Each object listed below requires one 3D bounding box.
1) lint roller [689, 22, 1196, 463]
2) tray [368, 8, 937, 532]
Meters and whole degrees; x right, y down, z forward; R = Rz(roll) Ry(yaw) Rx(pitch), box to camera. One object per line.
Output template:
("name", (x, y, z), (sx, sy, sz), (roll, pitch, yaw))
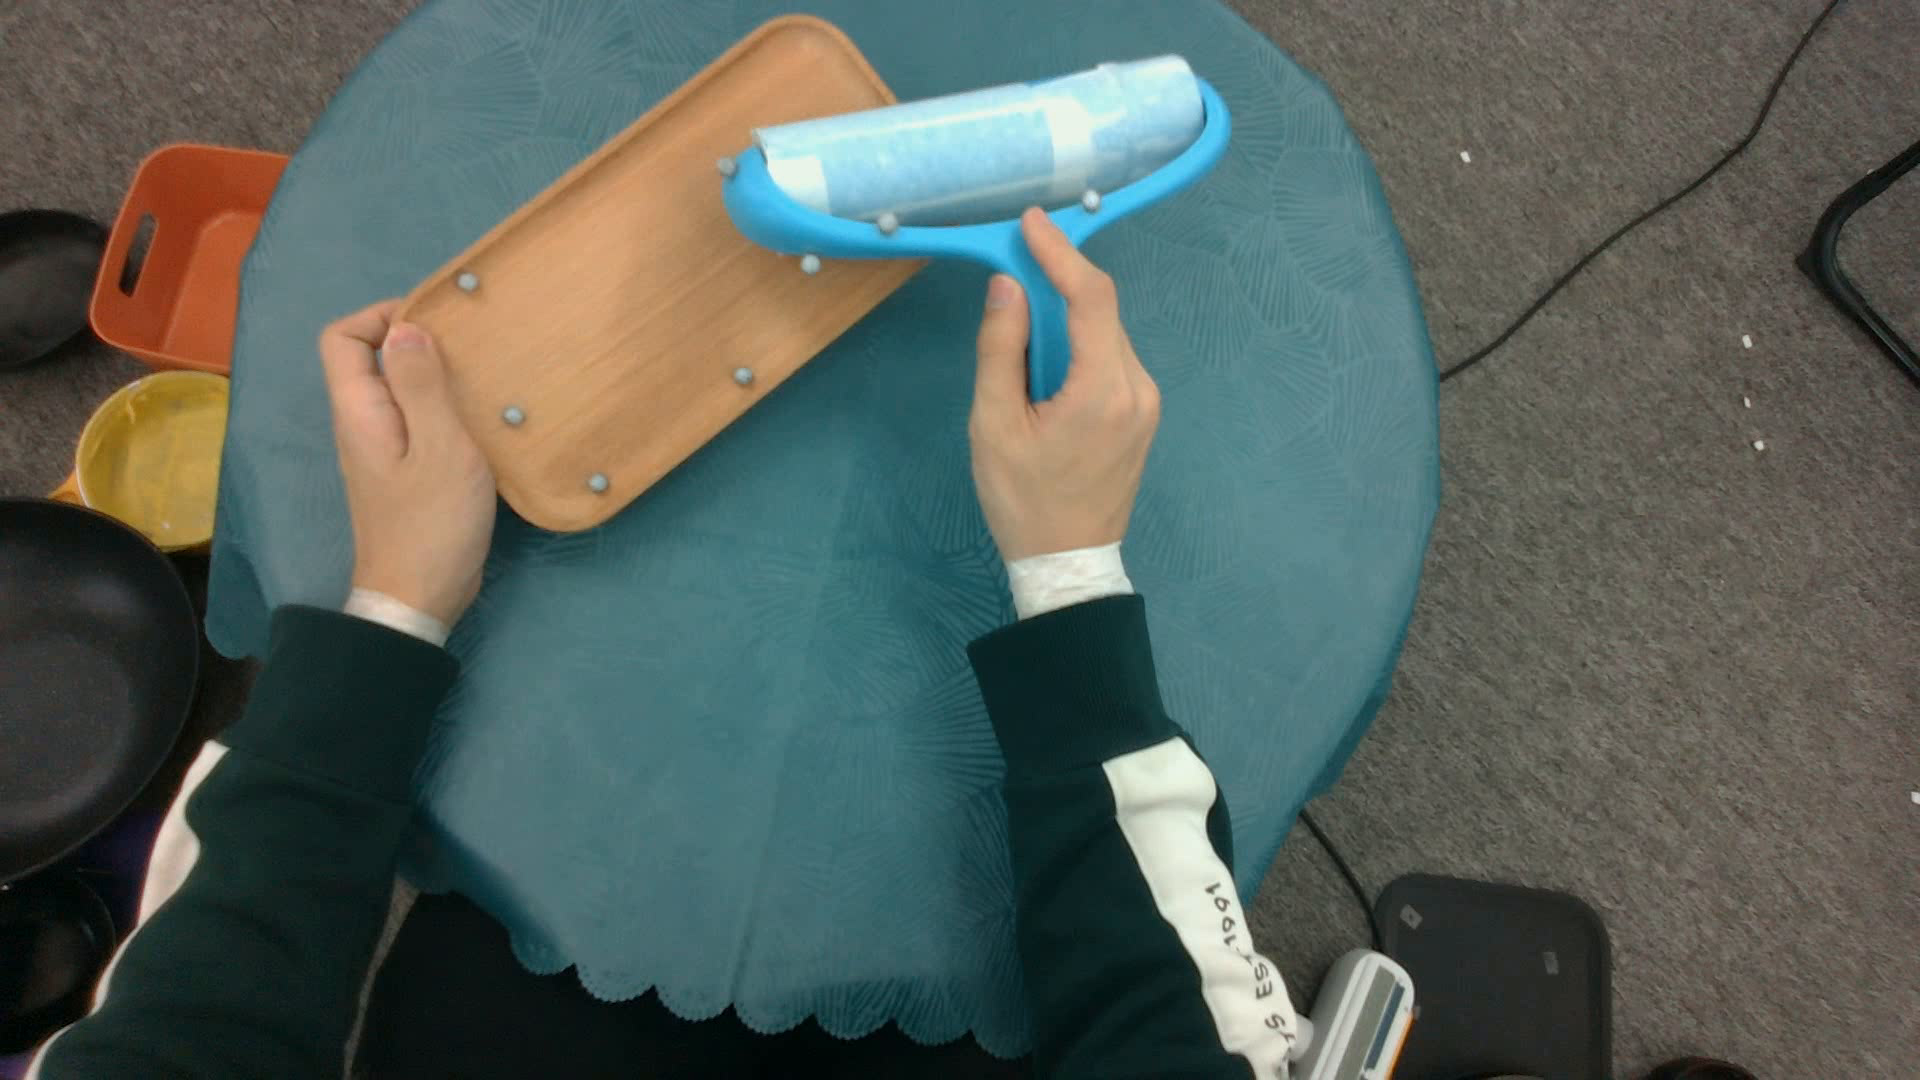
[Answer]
("lint roller", (0.015, -0.126, 0.595), (0.229, 0.068, 0.180), (-18, 81, -14))
("tray", (-0.131, -0.122, 0.617), (0.251, 0.023, 0.130), (-40, 103, -9))
